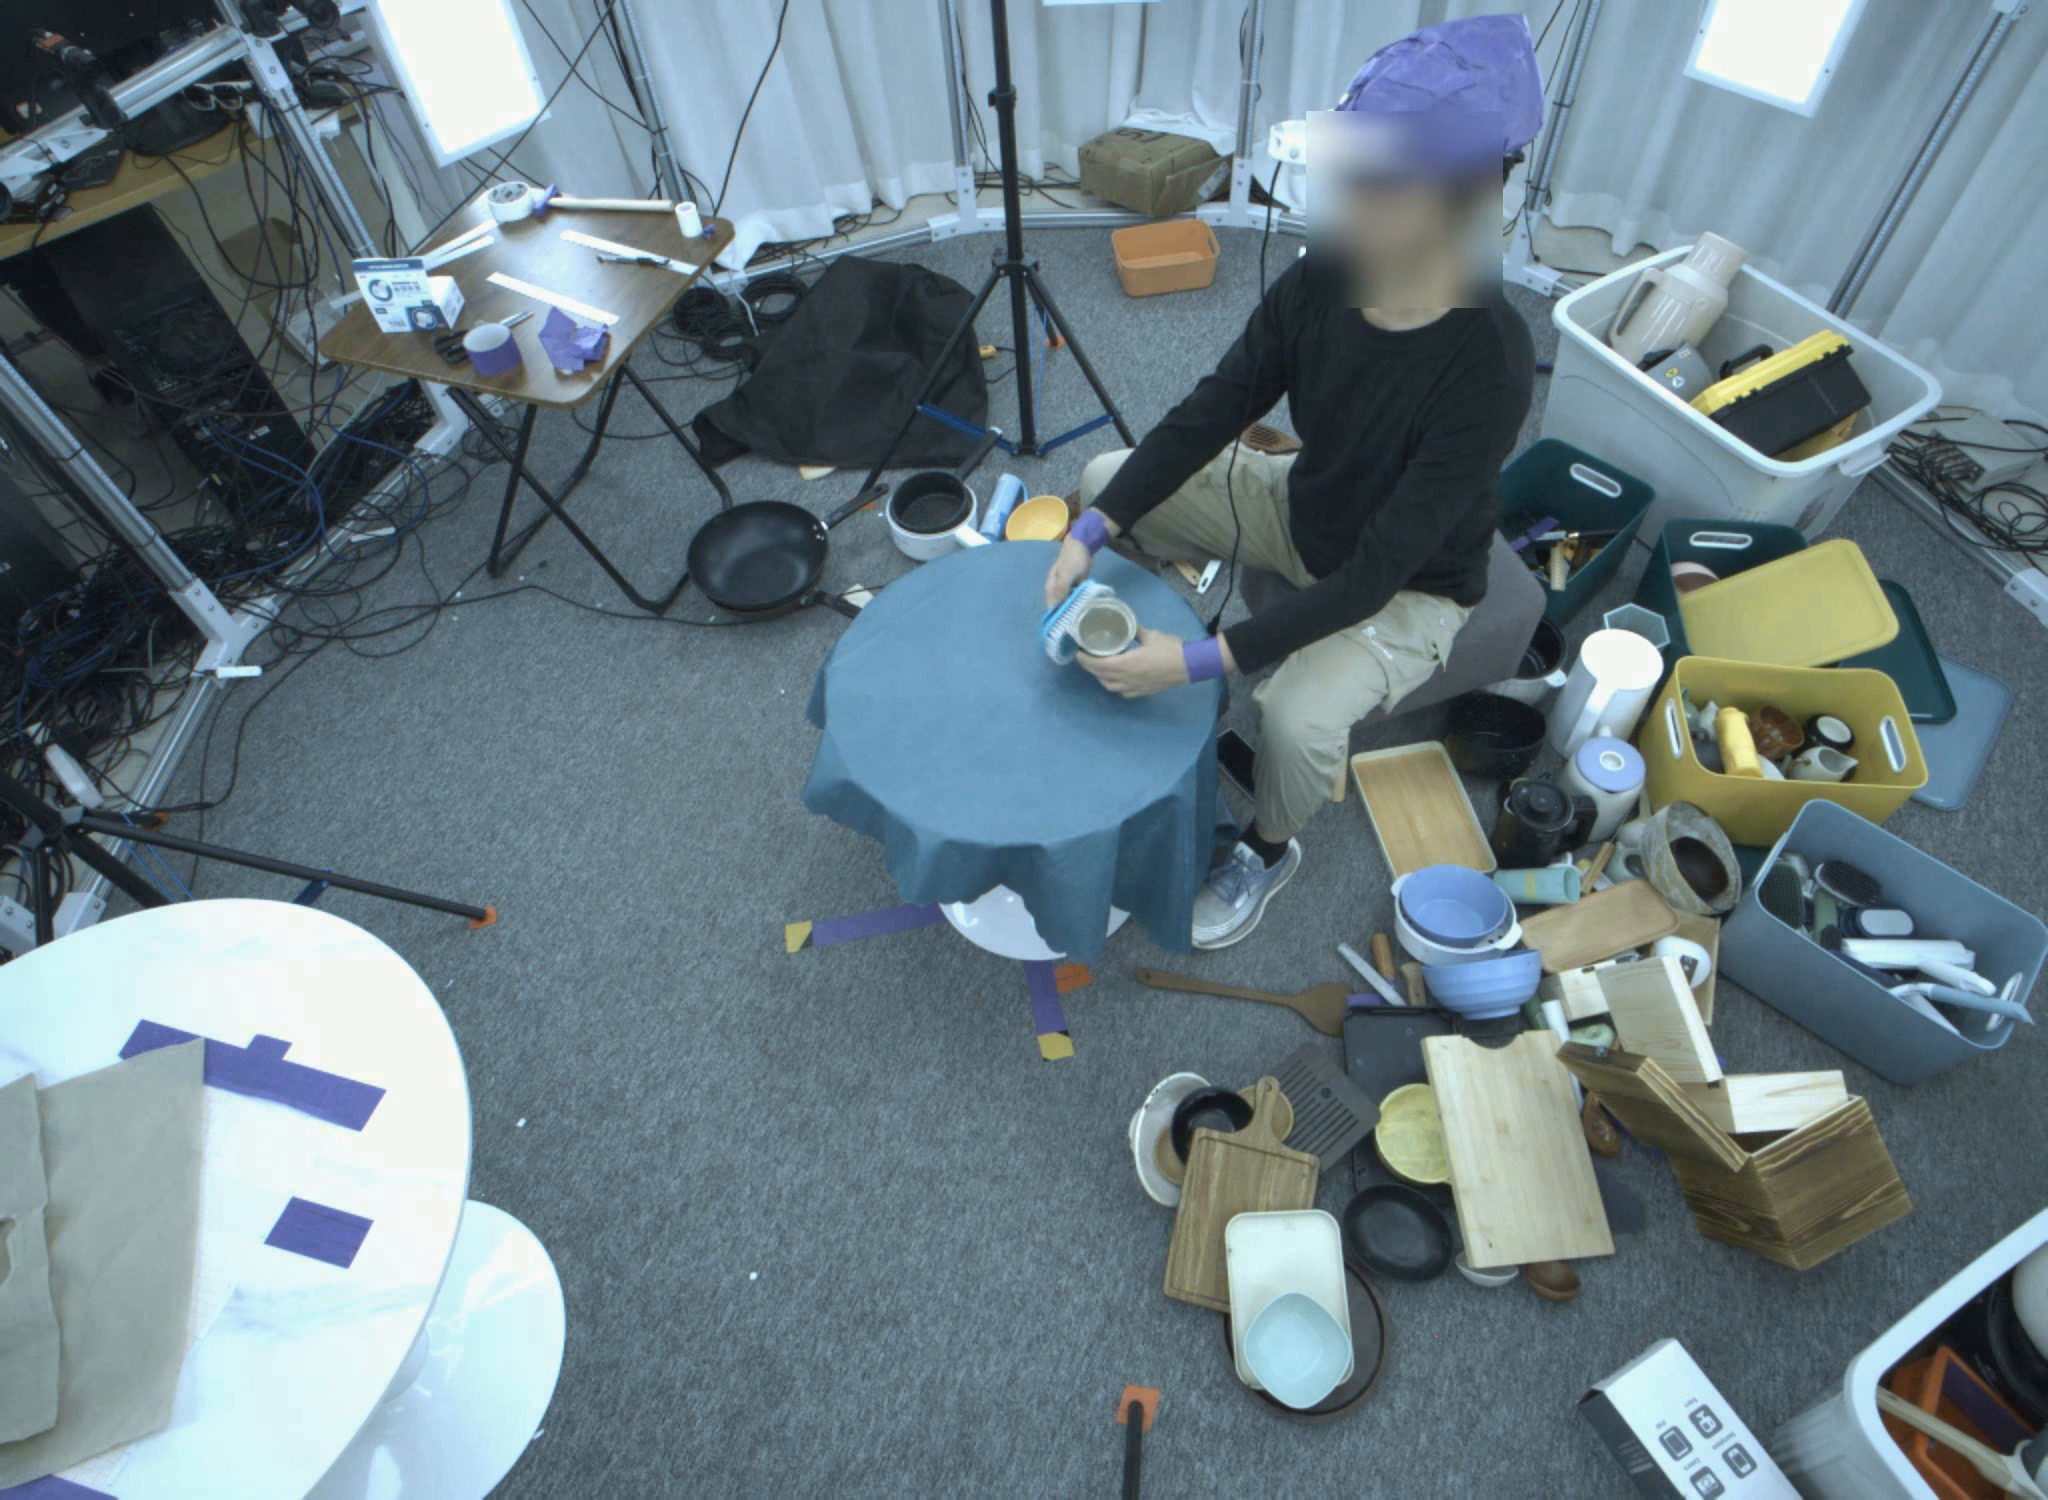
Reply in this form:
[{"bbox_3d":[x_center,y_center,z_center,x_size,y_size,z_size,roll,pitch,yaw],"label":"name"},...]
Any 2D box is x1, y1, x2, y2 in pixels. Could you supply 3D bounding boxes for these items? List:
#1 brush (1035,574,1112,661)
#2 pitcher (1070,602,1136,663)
[{"bbox_3d":[0.064,-0.202,1.830,0.062,0.086,0.142,35,80,31],"label":"brush"},{"bbox_3d":[0.115,-0.167,1.801,0.096,0.072,0.083,3,71,2],"label":"pitcher"}]
